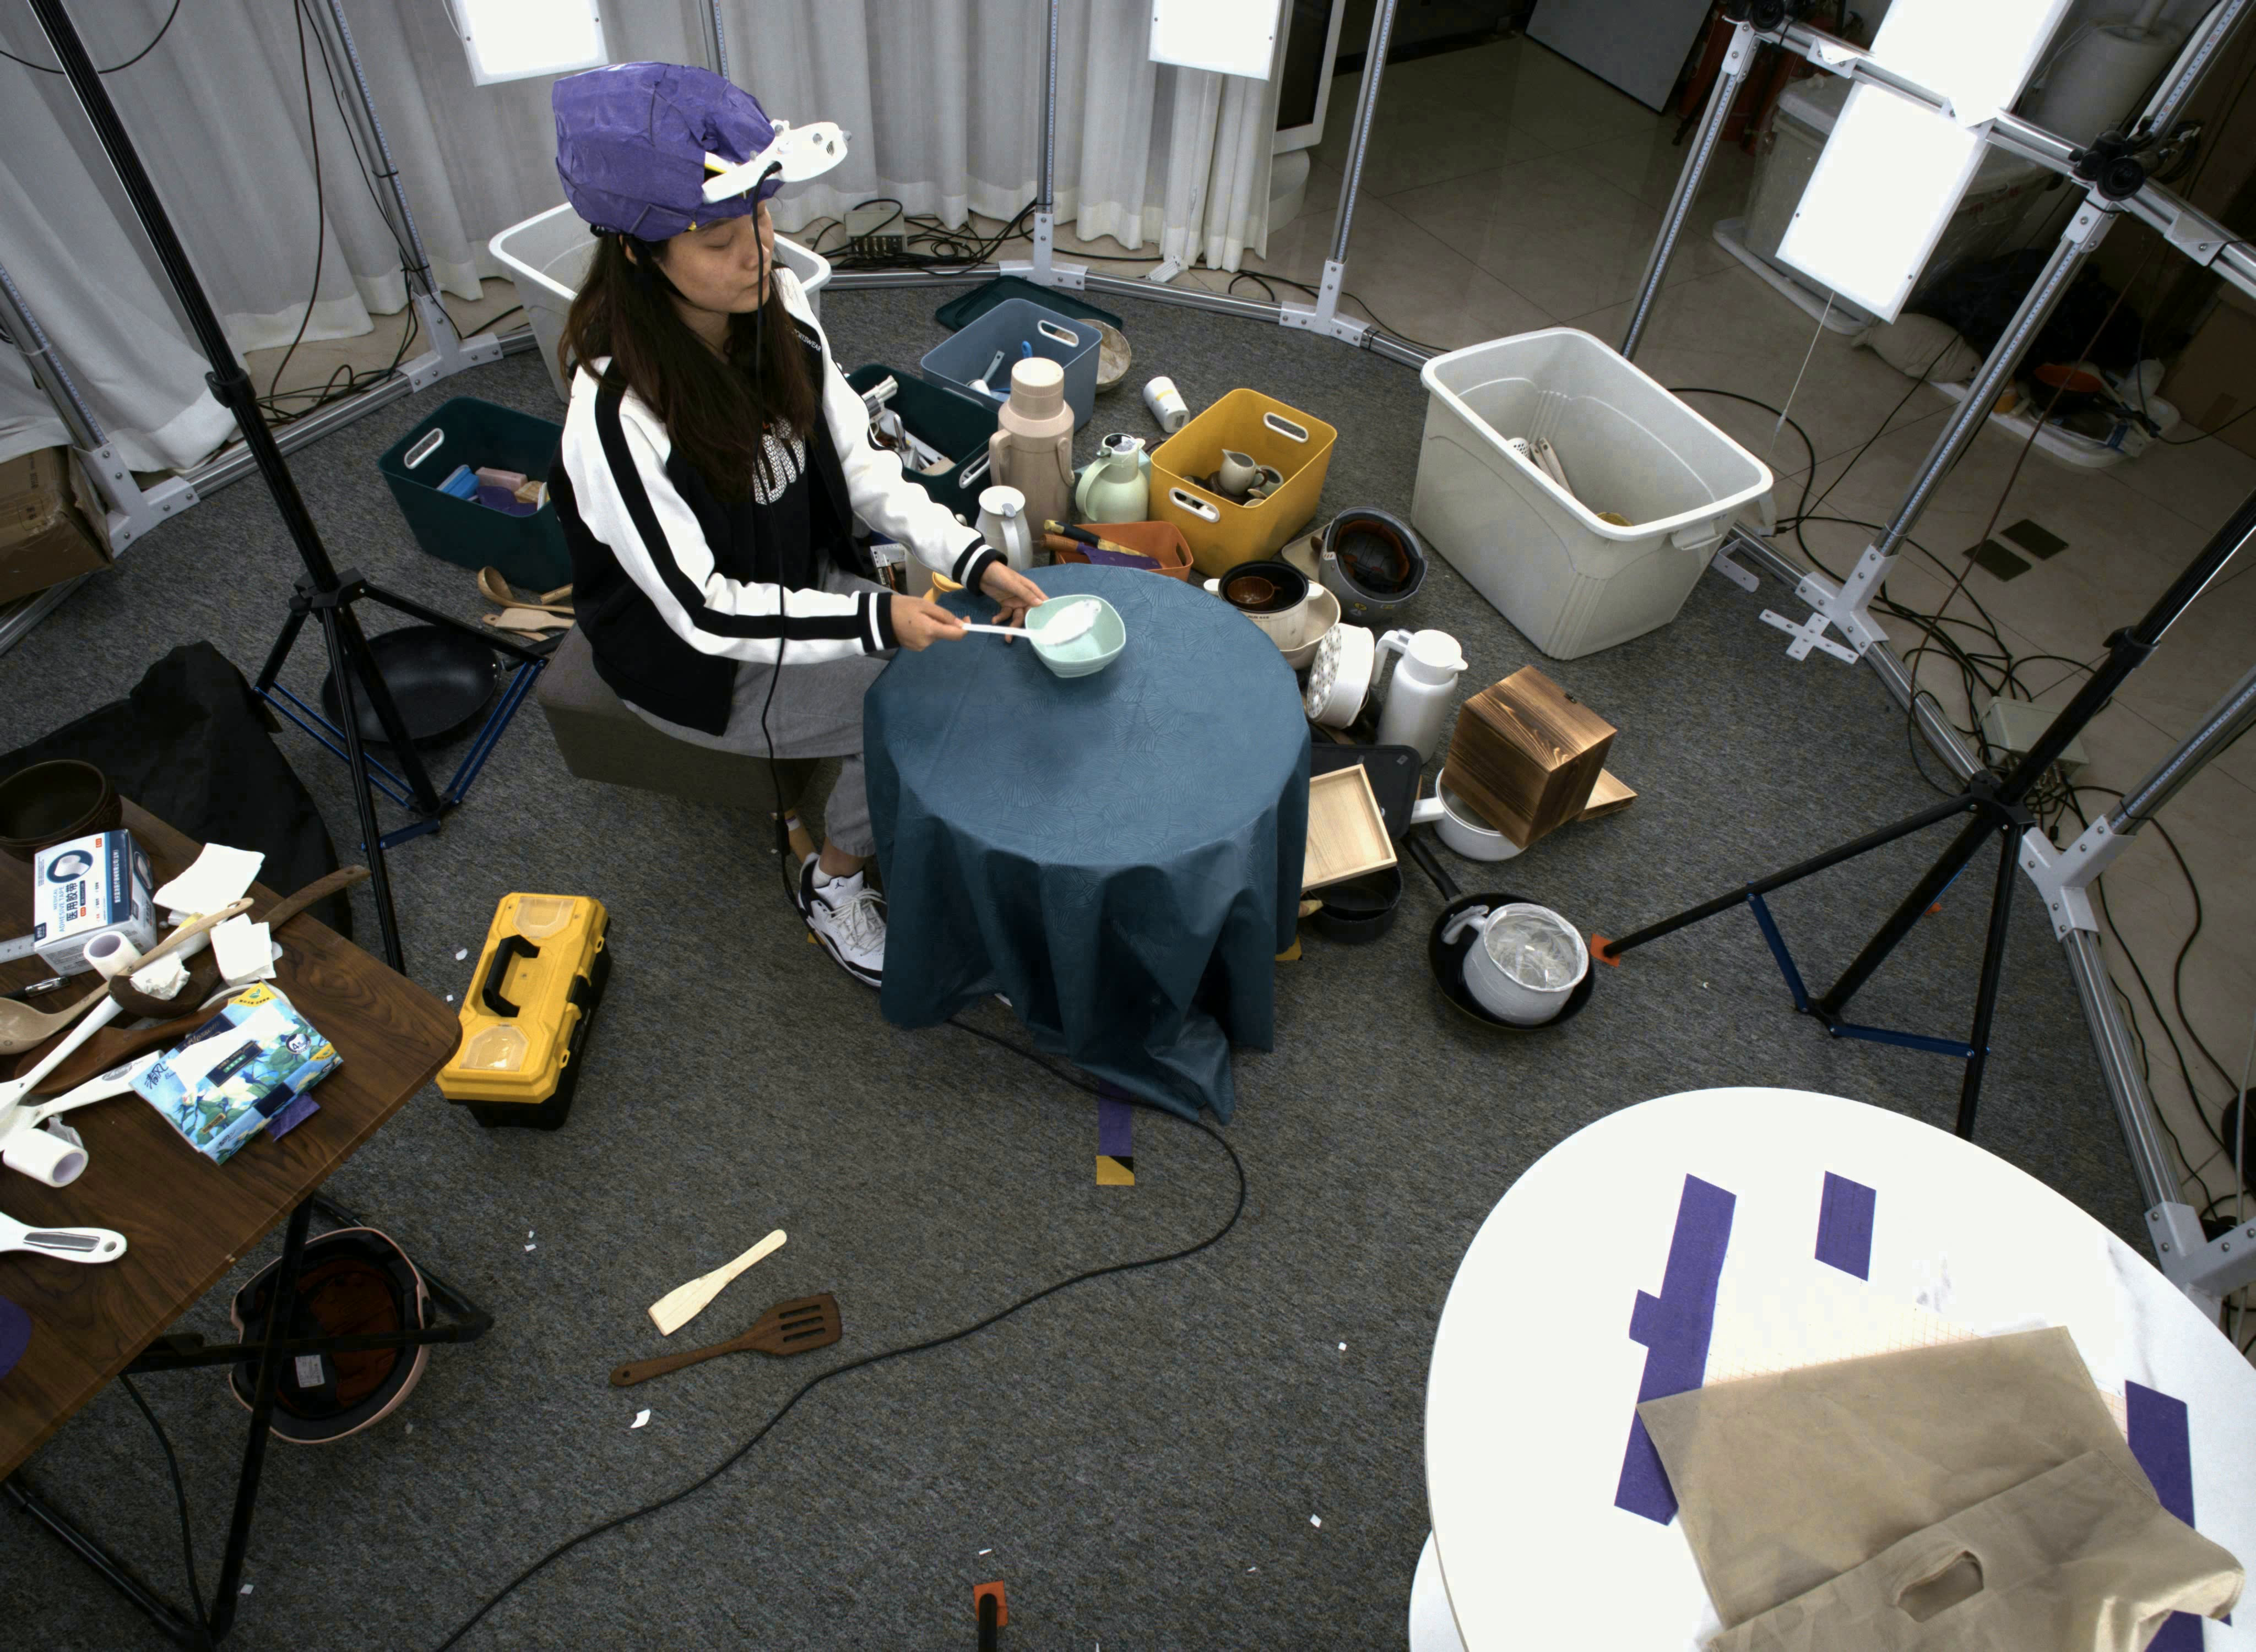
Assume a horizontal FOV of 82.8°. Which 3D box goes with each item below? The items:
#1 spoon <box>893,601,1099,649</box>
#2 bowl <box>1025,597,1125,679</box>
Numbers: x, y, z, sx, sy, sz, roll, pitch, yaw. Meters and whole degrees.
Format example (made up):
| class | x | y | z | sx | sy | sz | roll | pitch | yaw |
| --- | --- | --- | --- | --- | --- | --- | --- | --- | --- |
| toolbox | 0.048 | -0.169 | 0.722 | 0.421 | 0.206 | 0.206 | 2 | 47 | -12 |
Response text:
| class | x | y | z | sx | sy | sz | roll | pitch | yaw |
| --- | --- | --- | --- | --- | --- | --- | --- | --- | --- |
| spoon | -0.177 | -0.286 | 1.721 | 0.277 | 0.058 | 0.103 | 11 | 38 | 4 |
| bowl | -0.077 | -0.264 | 1.860 | 0.151 | 0.057 | 0.155 | 2 | 49 | -2 |
